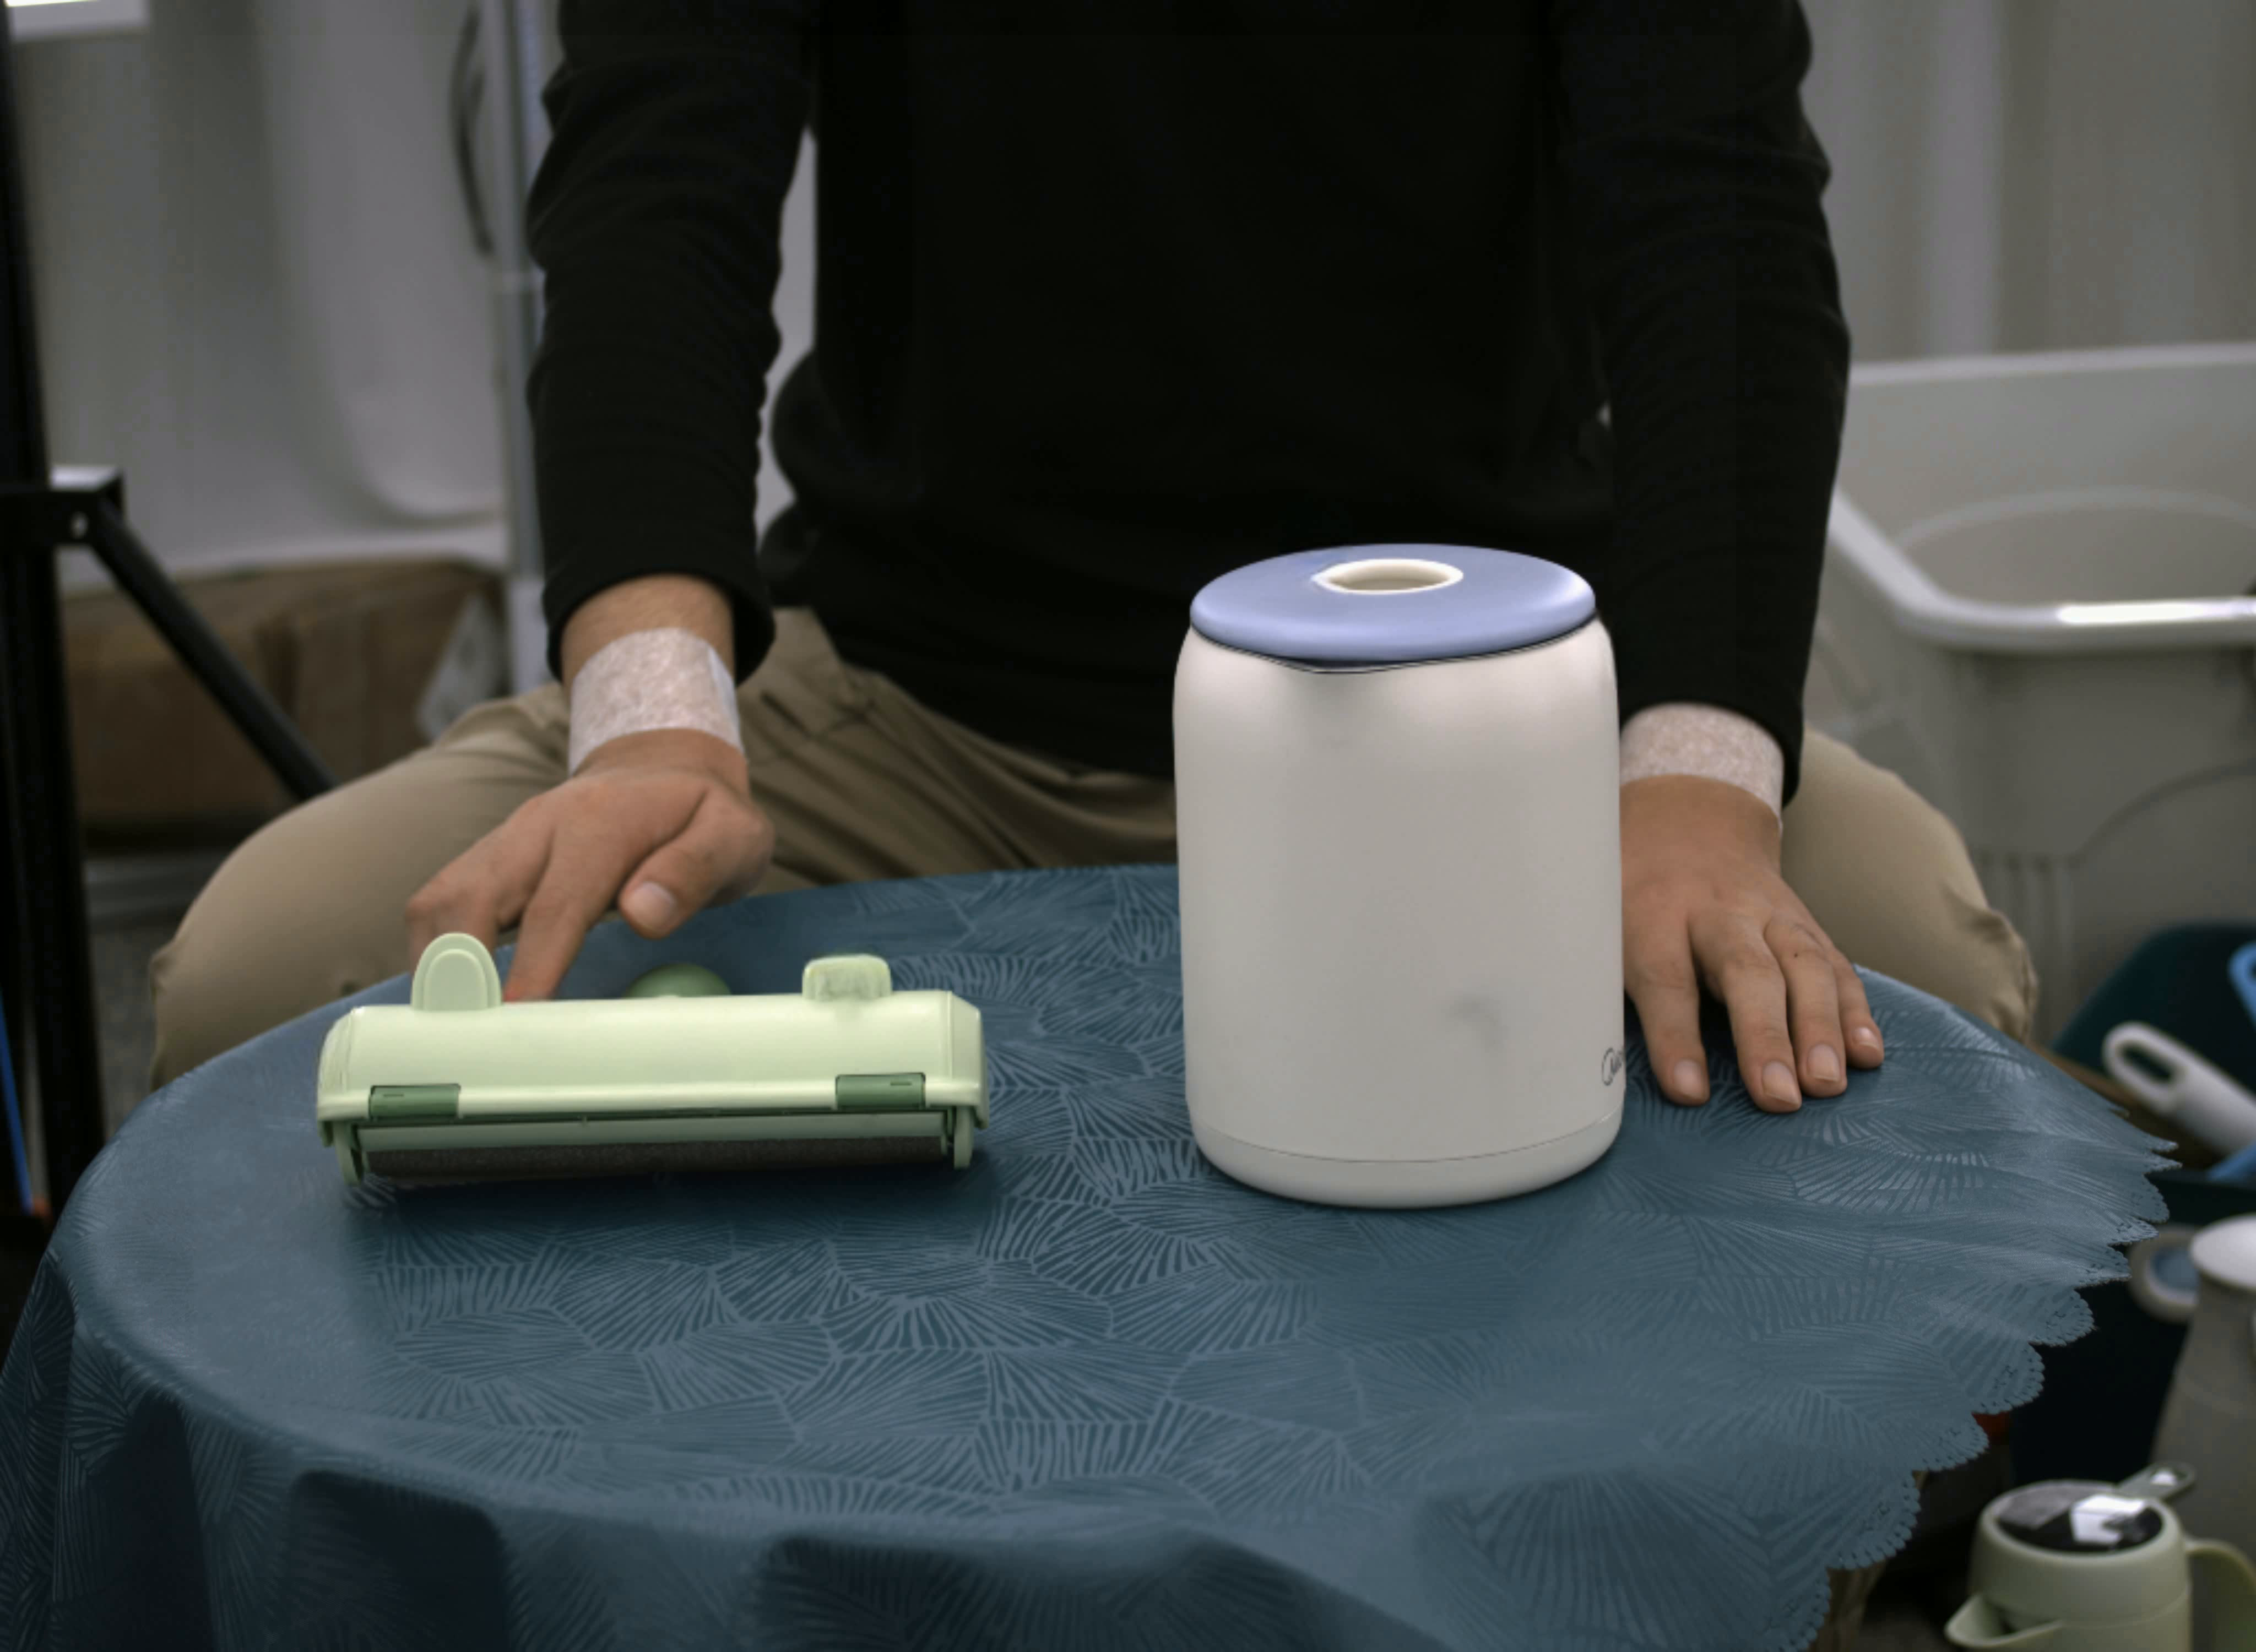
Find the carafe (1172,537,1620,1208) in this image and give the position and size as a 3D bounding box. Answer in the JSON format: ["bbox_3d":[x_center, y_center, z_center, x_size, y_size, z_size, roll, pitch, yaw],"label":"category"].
[{"bbox_3d":[0.086,0.007,1.586,0.133,0.182,0.189,3,14,17],"label":"carafe"}]

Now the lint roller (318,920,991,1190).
[{"bbox_3d":[-0.141,0.054,1.630,0.198,0.082,0.184,-1,18,0],"label":"lint roller"}]
